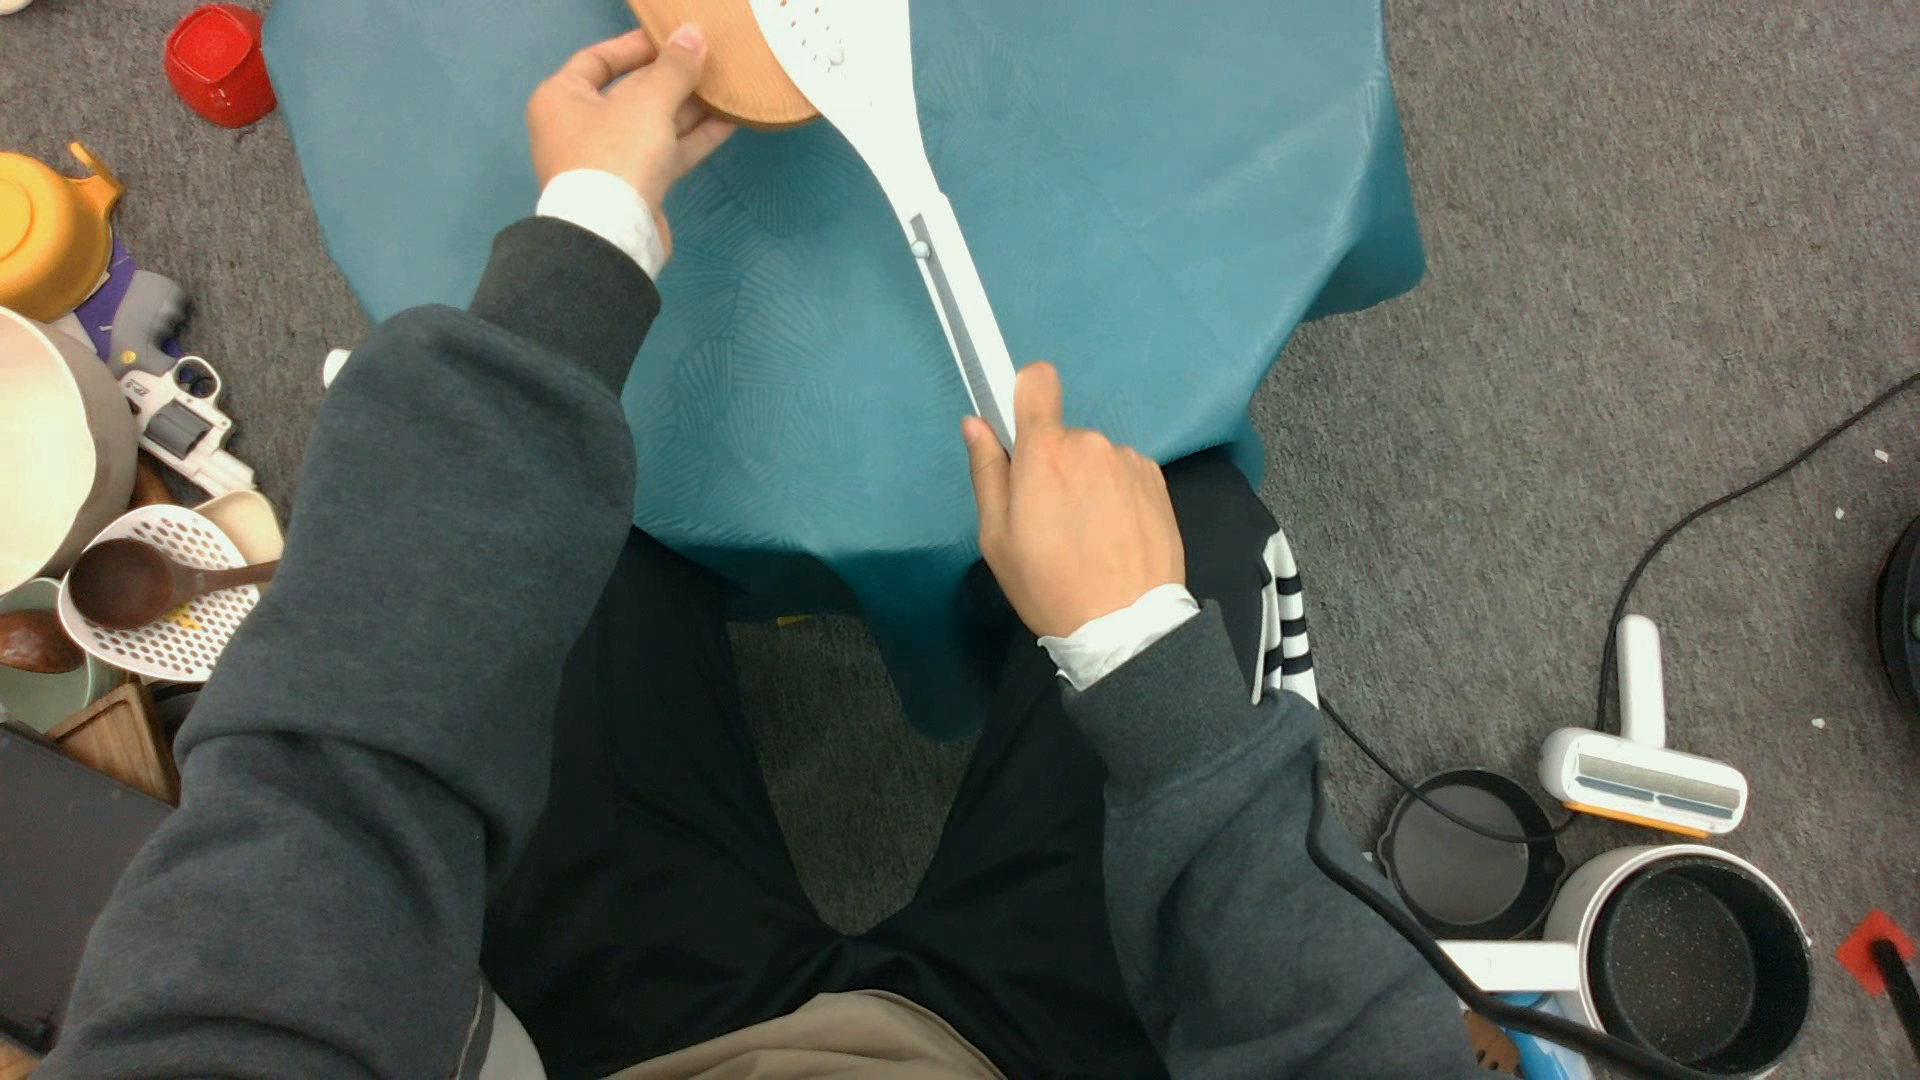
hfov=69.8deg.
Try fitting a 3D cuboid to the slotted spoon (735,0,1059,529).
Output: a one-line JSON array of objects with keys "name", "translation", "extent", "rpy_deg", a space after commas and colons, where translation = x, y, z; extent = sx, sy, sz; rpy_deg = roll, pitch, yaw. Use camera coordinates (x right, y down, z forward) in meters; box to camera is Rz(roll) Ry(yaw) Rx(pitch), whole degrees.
[{"name": "slotted spoon", "translation": [-0.031, -0.168, 0.618], "extent": [0.046, 0.135, 0.349], "rpy_deg": [-20, 93, -25]}]

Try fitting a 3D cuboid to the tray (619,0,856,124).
[{"name": "tray", "translation": [-0.136, -0.304, 0.671], "extent": [0.102, 0.020, 0.231], "rpy_deg": [-32, 89, -19]}]
